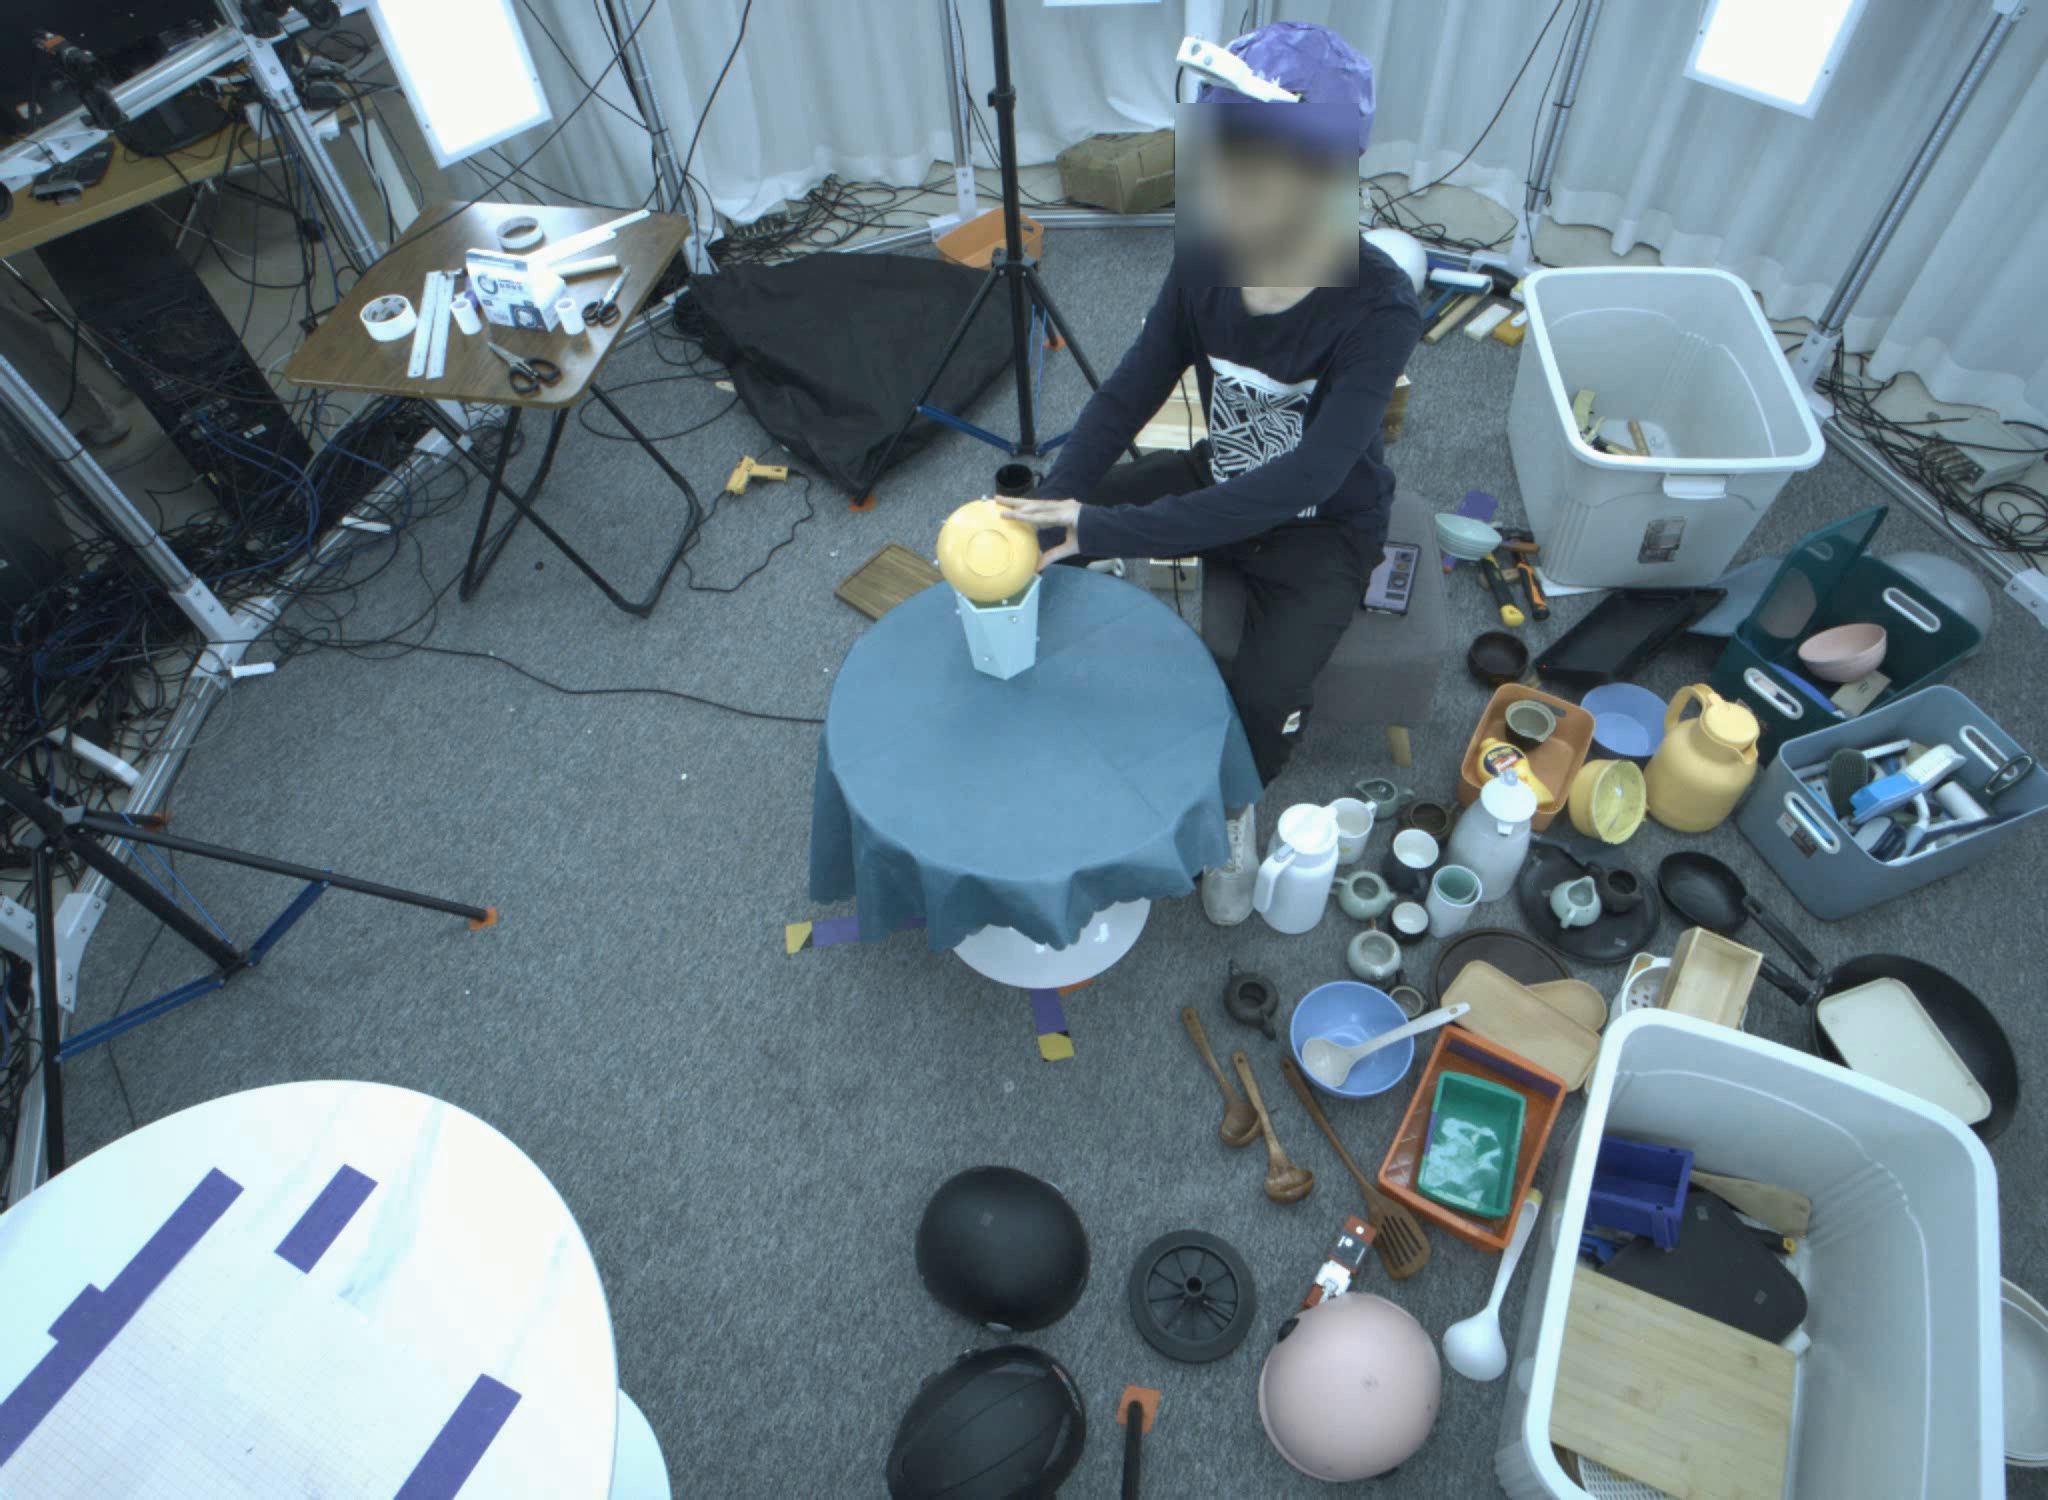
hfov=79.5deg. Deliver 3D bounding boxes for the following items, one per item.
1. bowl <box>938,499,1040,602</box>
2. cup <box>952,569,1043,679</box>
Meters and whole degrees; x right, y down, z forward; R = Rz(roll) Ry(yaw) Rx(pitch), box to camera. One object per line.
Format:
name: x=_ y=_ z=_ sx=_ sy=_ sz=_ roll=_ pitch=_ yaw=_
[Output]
bowl: x=-0.049 y=-0.275 z=1.698 sx=0.145 sy=0.146 sz=0.059 roll=-6 pitch=13 yaw=-2
cup: x=-0.035 y=-0.195 z=1.819 sx=0.116 sy=0.164 sz=0.128 roll=-31 pitch=59 yaw=-19
